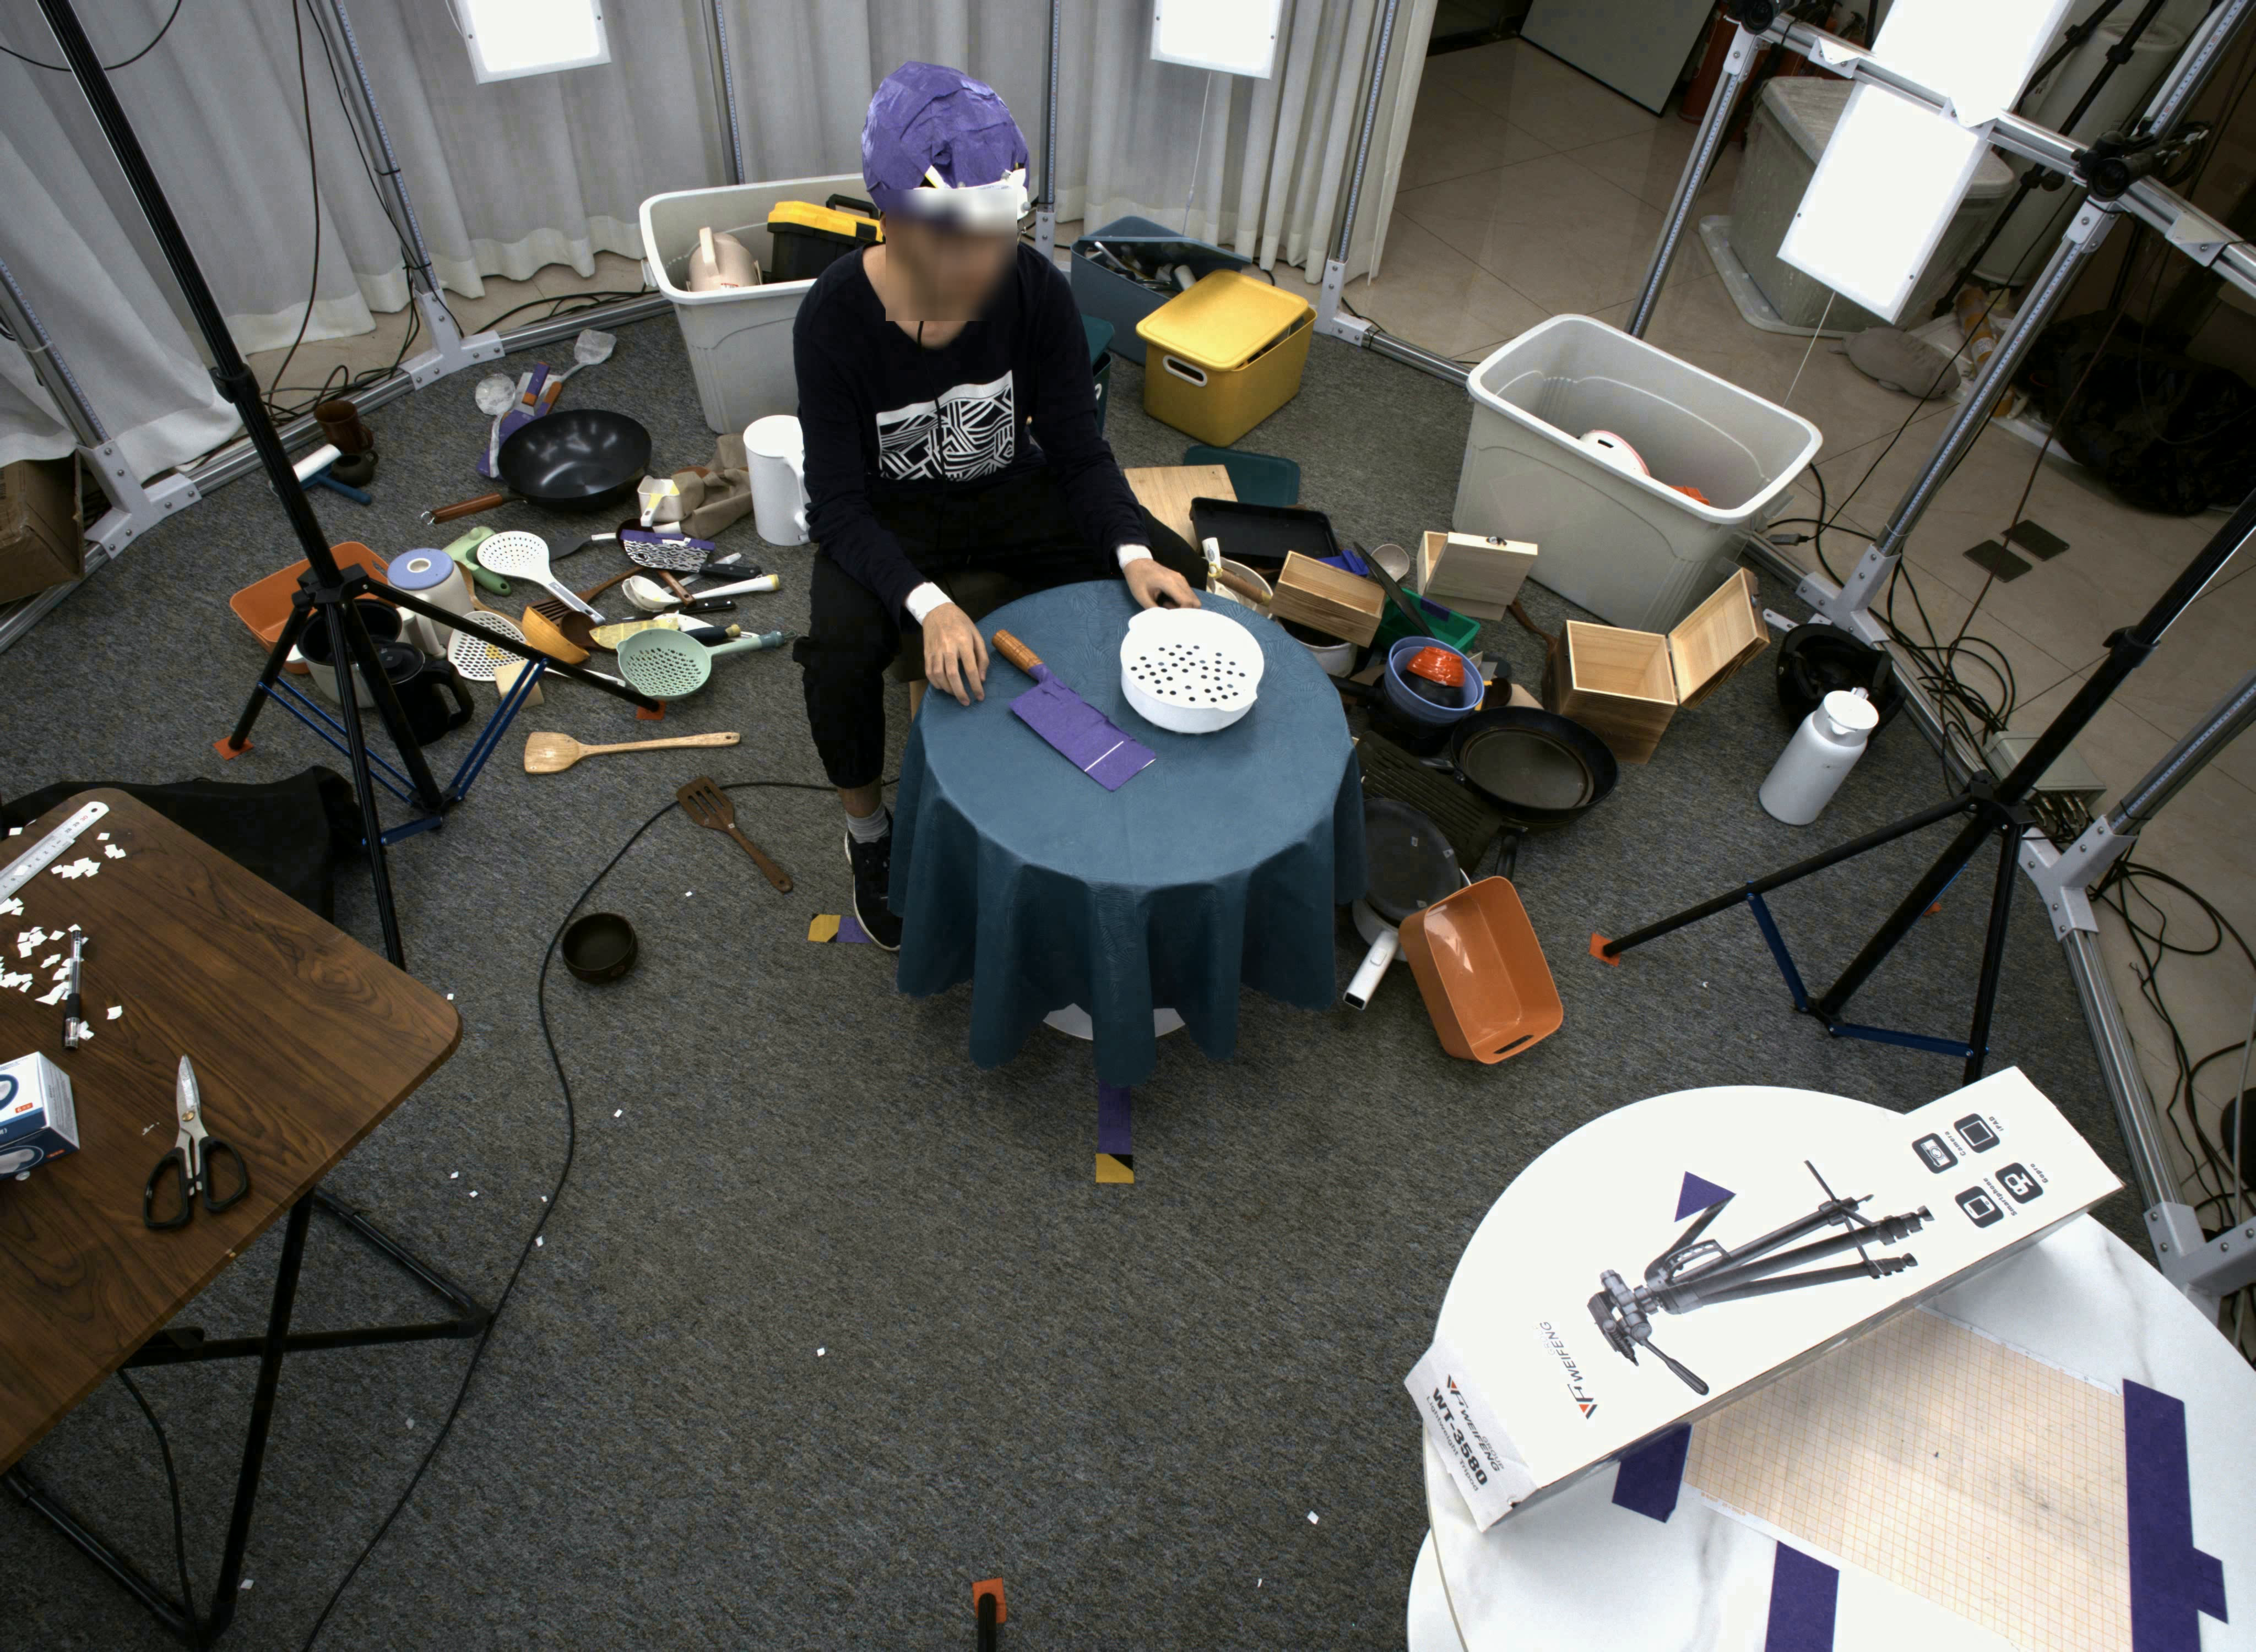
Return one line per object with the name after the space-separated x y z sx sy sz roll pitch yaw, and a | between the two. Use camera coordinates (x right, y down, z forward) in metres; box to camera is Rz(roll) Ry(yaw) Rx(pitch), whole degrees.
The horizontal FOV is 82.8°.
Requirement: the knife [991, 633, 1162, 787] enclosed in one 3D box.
-0.098 -0.165 1.787 0.320 0.031 0.105 38 57 26 | knife

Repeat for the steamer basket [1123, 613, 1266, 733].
0.092 -0.216 1.818 0.203 0.067 0.235 -28 54 -26 | steamer basket
